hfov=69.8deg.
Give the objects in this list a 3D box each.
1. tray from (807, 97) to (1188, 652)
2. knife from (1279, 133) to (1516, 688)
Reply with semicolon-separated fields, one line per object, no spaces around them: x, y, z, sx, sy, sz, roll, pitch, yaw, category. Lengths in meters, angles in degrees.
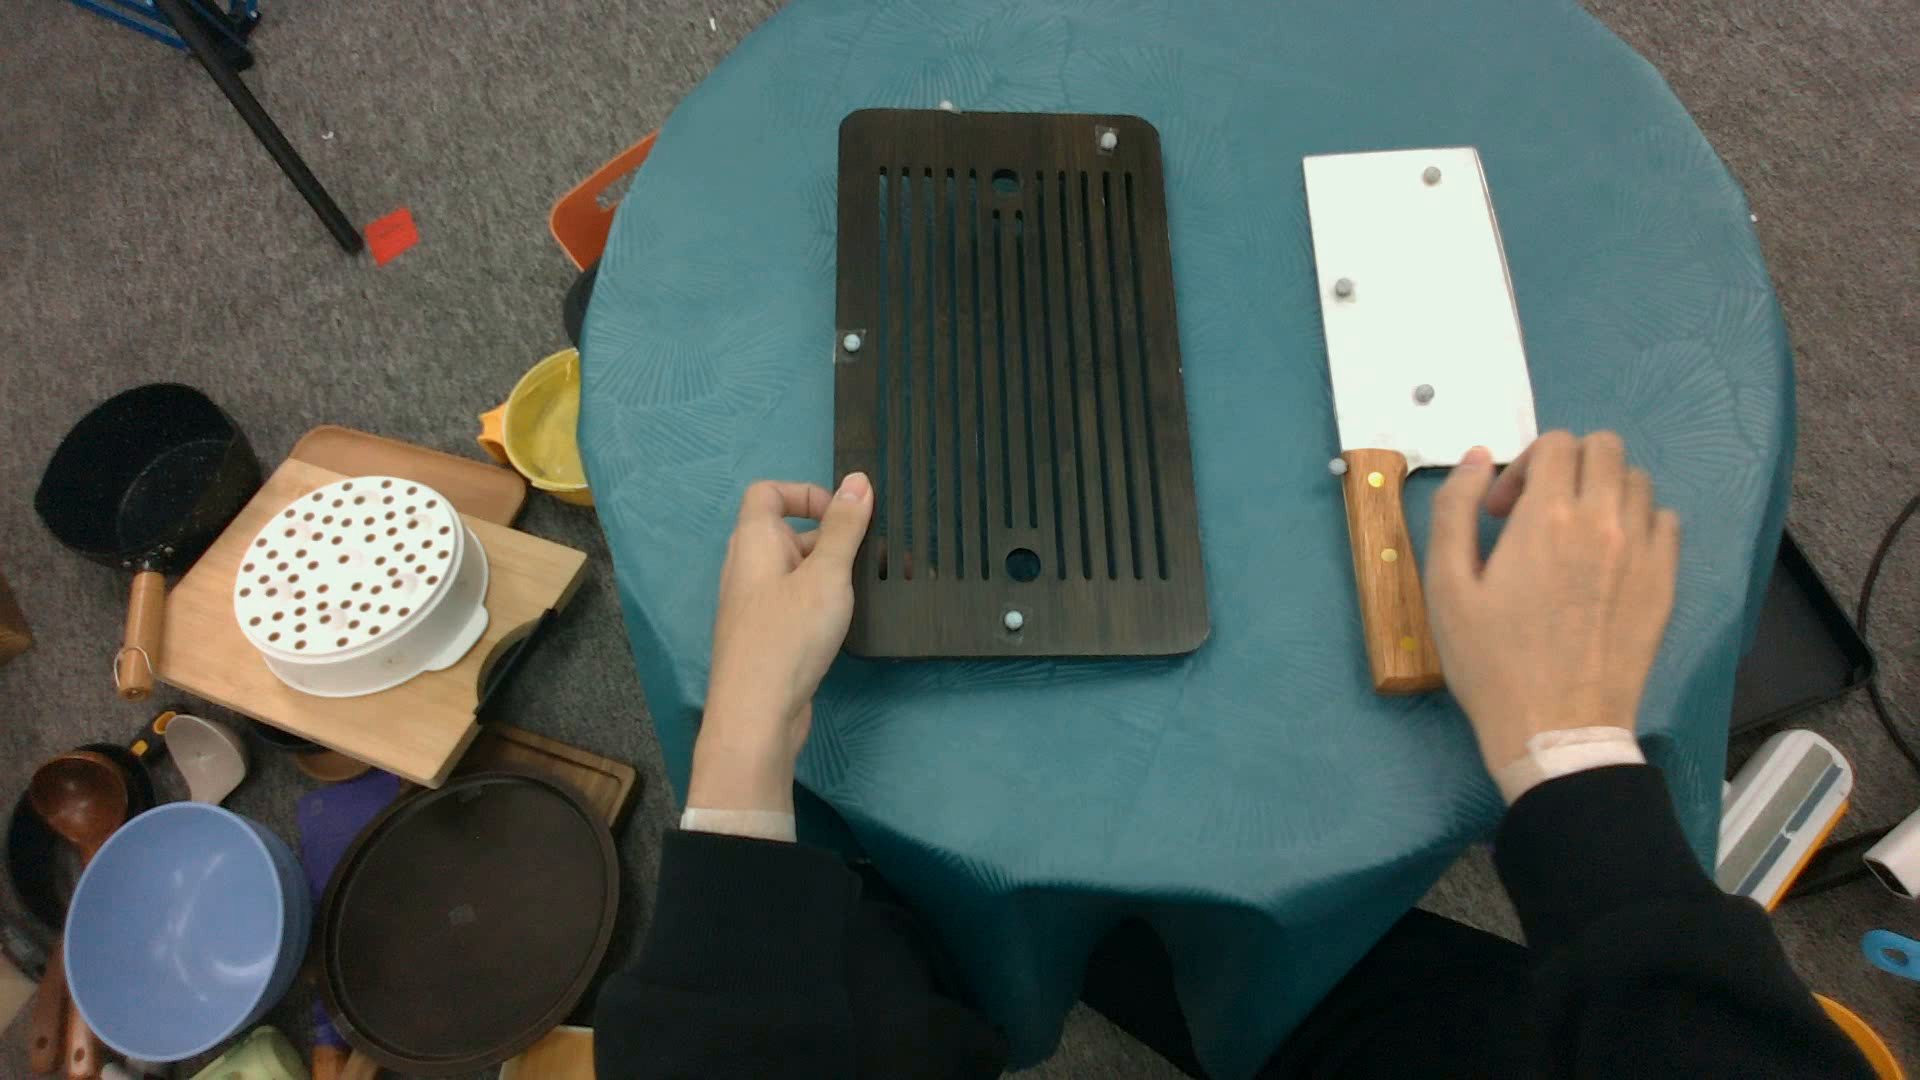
0.013;-0.090;0.670;0.170;0.018;0.307;0;66;-4;tray
0.214;-0.076;0.660;0.093;0.021;0.307;-2;64;3;knife
